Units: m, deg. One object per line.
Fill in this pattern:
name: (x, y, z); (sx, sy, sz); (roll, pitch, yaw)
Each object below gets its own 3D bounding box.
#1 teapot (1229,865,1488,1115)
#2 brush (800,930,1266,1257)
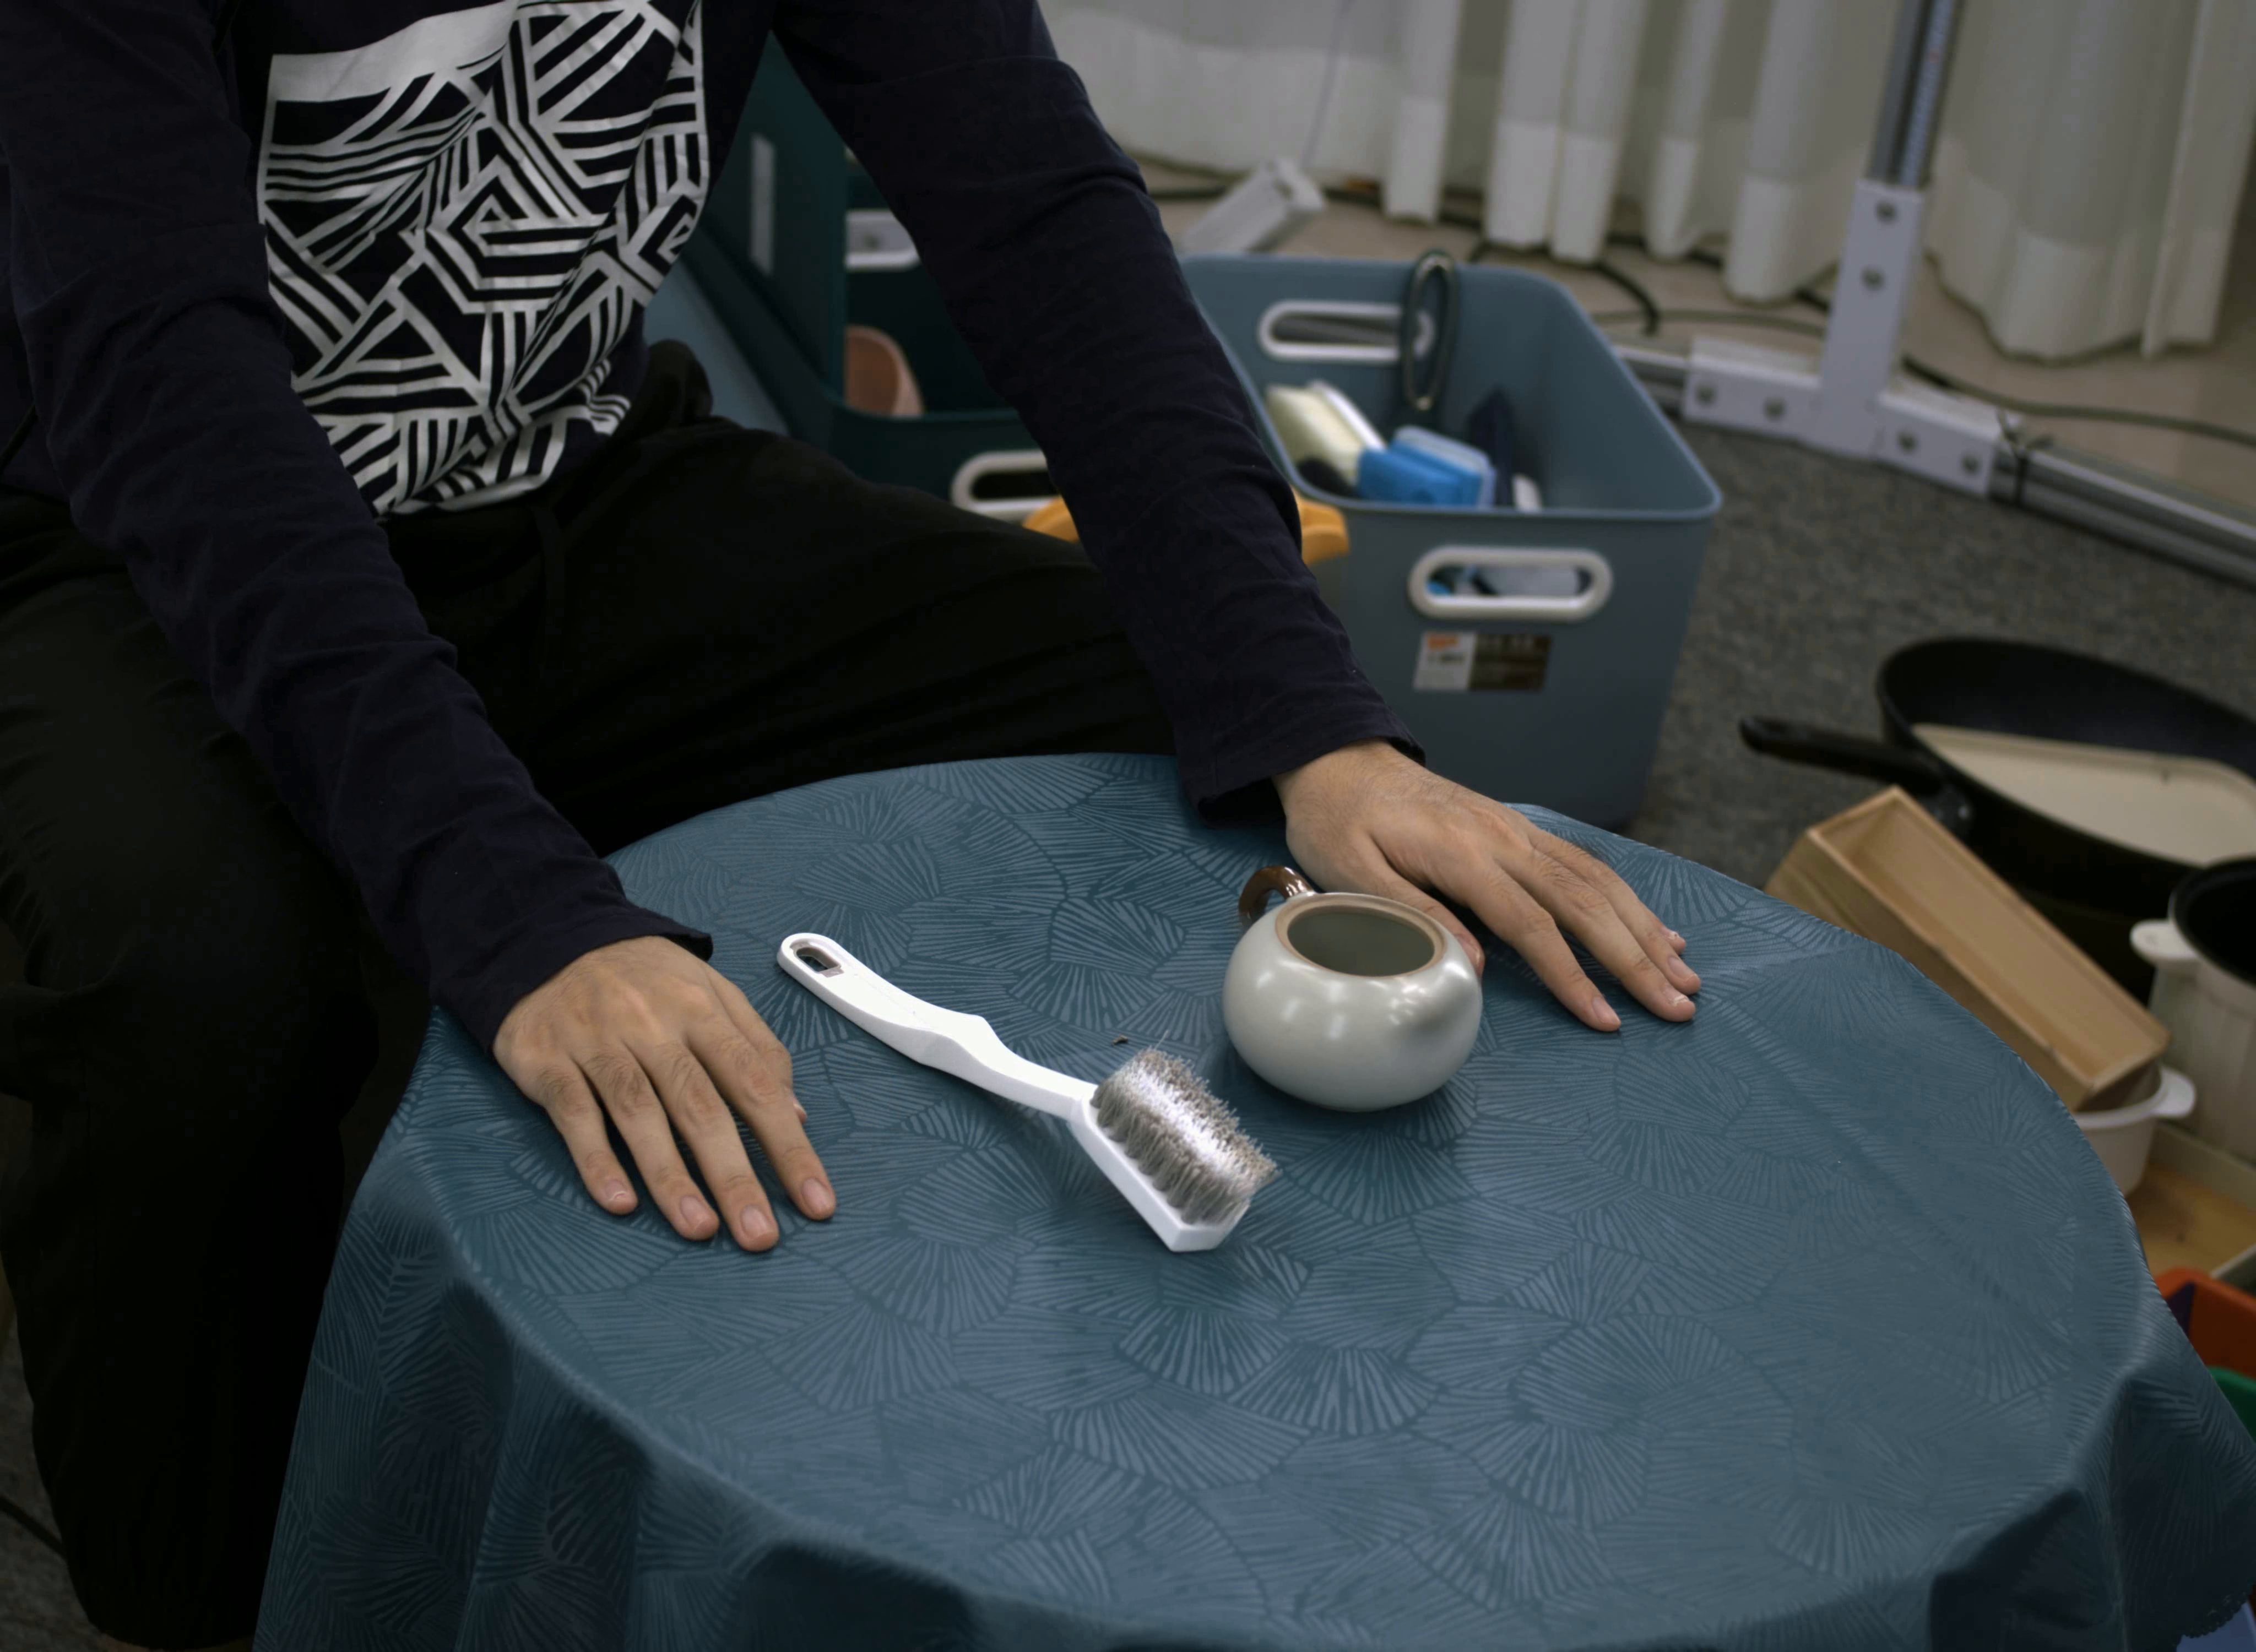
teapot: (0.076, 0.059, 1.888); (0.091, 0.059, 0.129); (-14, 35, -29)
brush: (-0.038, 0.075, 1.842); (0.034, 0.050, 0.246); (-18, 36, -33)
